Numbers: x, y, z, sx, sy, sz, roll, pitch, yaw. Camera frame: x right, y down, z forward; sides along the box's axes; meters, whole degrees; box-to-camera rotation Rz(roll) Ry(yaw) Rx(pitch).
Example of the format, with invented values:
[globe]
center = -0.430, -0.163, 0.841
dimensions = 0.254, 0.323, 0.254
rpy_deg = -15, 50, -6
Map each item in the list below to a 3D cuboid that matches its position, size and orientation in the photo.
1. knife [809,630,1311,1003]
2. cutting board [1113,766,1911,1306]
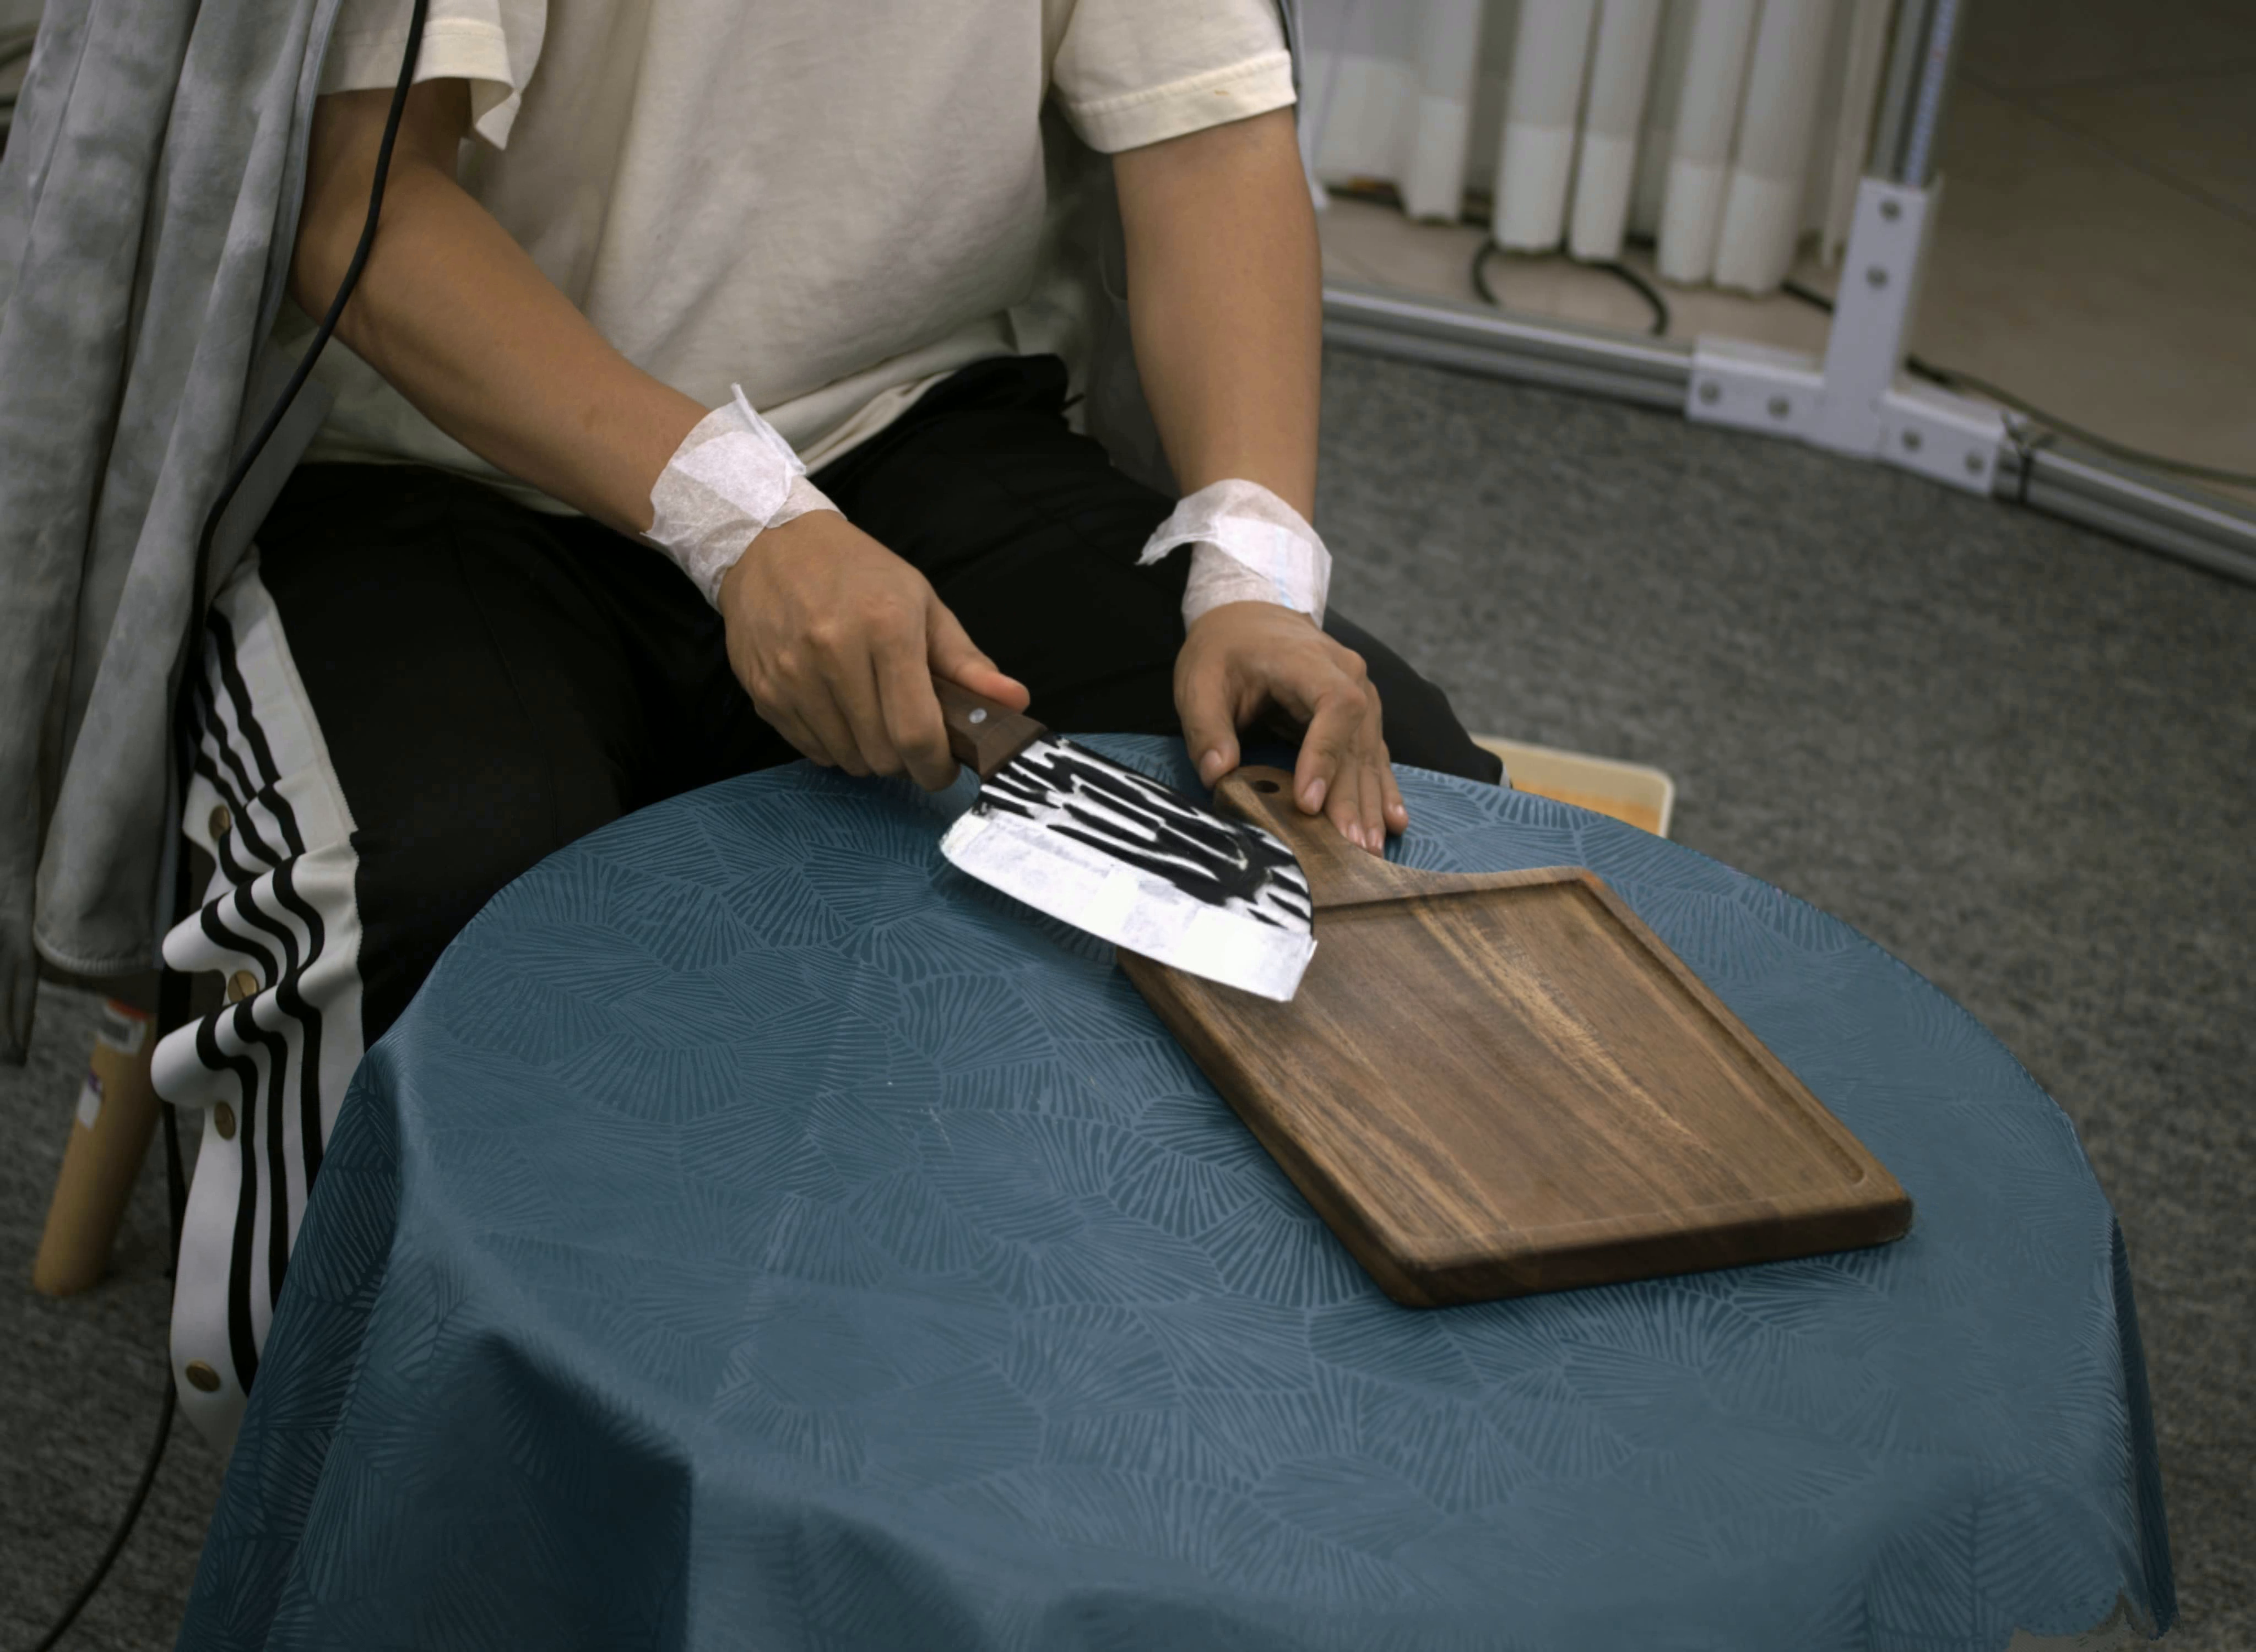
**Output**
[knife]
center = -0.033, -0.005, 1.979
dimensions = 0.302, 0.024, 0.068
rpy_deg = 27, 66, 41
[cutting board]
center = 0.112, 0.064, 1.925
dimensions = 0.200, 0.023, 0.355
rpy_deg = -6, 29, -23
